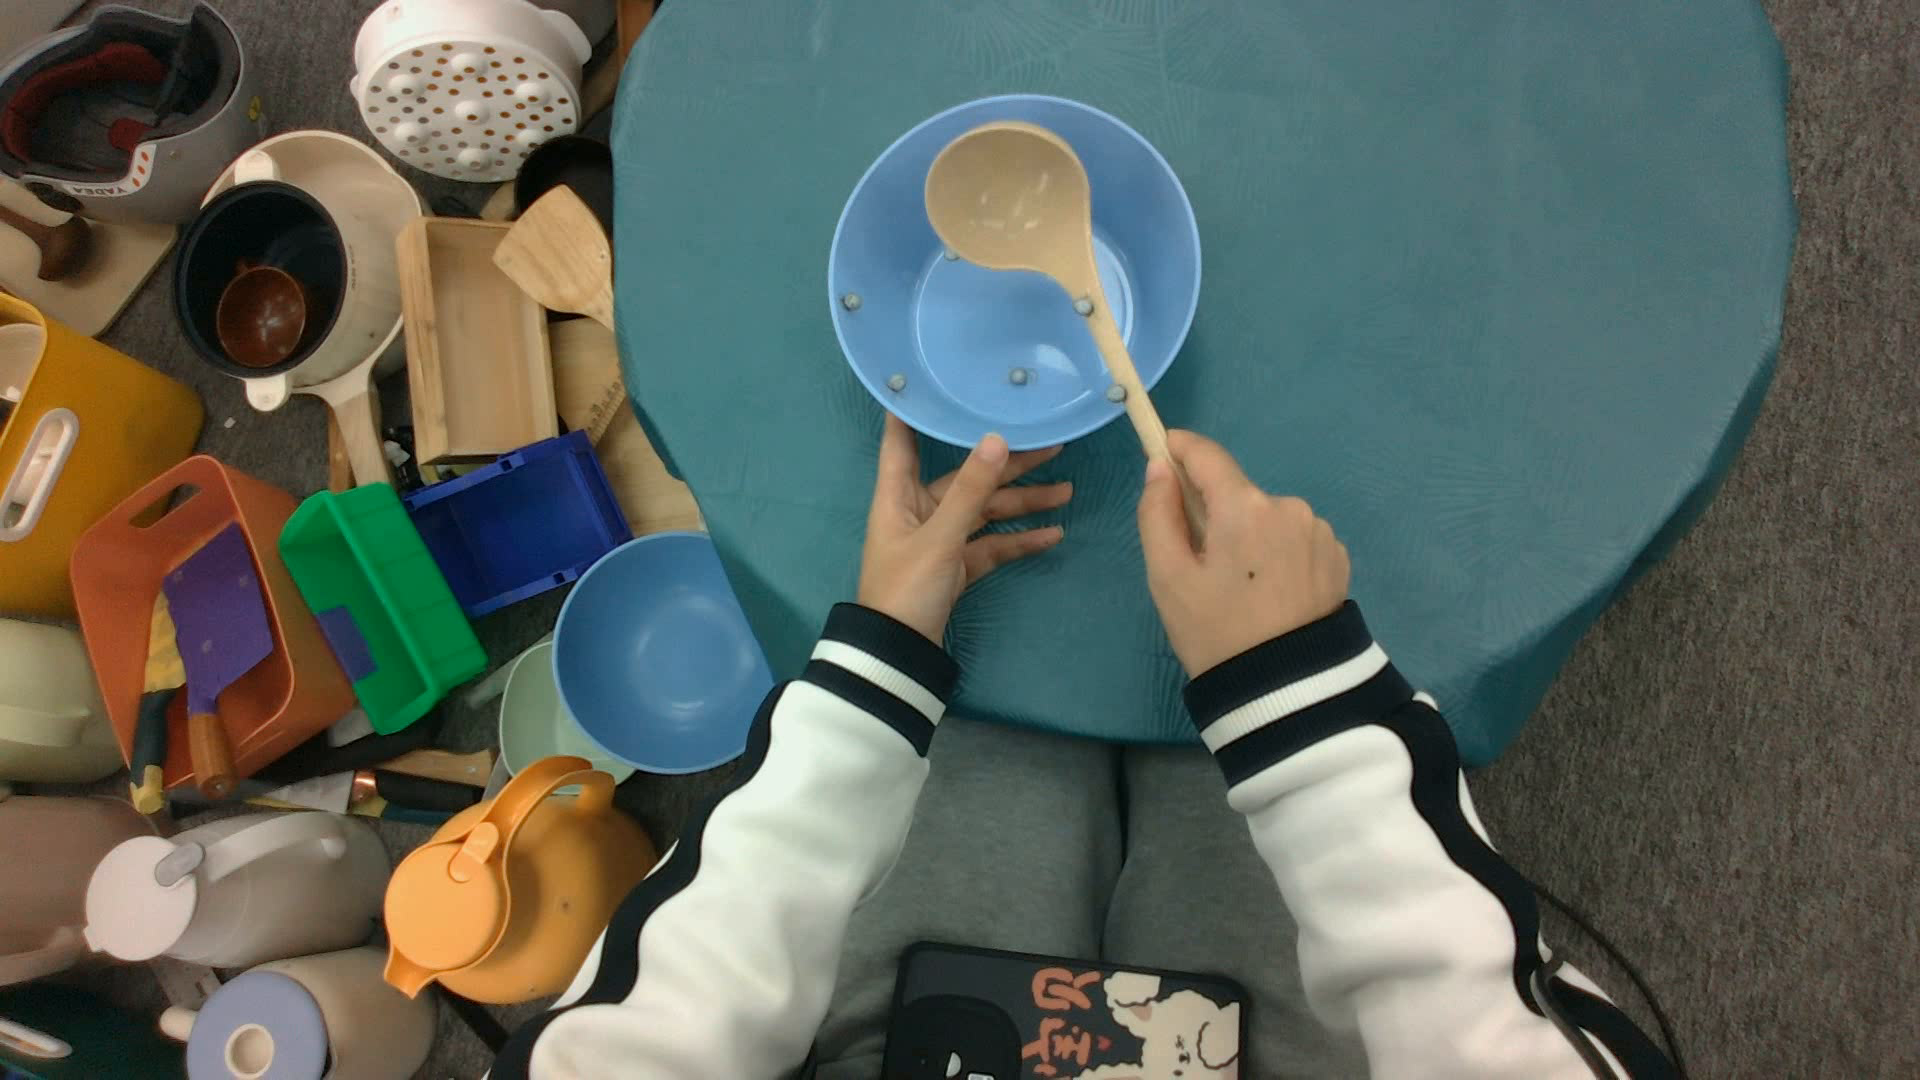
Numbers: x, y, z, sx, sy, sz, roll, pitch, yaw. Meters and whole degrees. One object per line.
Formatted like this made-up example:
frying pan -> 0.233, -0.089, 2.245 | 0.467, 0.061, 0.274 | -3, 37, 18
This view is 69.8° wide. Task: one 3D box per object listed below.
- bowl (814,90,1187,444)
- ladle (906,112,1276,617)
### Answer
bowl -> 0.022, -0.124, 0.675 | 0.176, 0.070, 0.176 | -2, 78, 8
ladle -> 0.051, -0.077, 0.579 | 0.072, 0.073, 0.255 | -41, 60, 28
